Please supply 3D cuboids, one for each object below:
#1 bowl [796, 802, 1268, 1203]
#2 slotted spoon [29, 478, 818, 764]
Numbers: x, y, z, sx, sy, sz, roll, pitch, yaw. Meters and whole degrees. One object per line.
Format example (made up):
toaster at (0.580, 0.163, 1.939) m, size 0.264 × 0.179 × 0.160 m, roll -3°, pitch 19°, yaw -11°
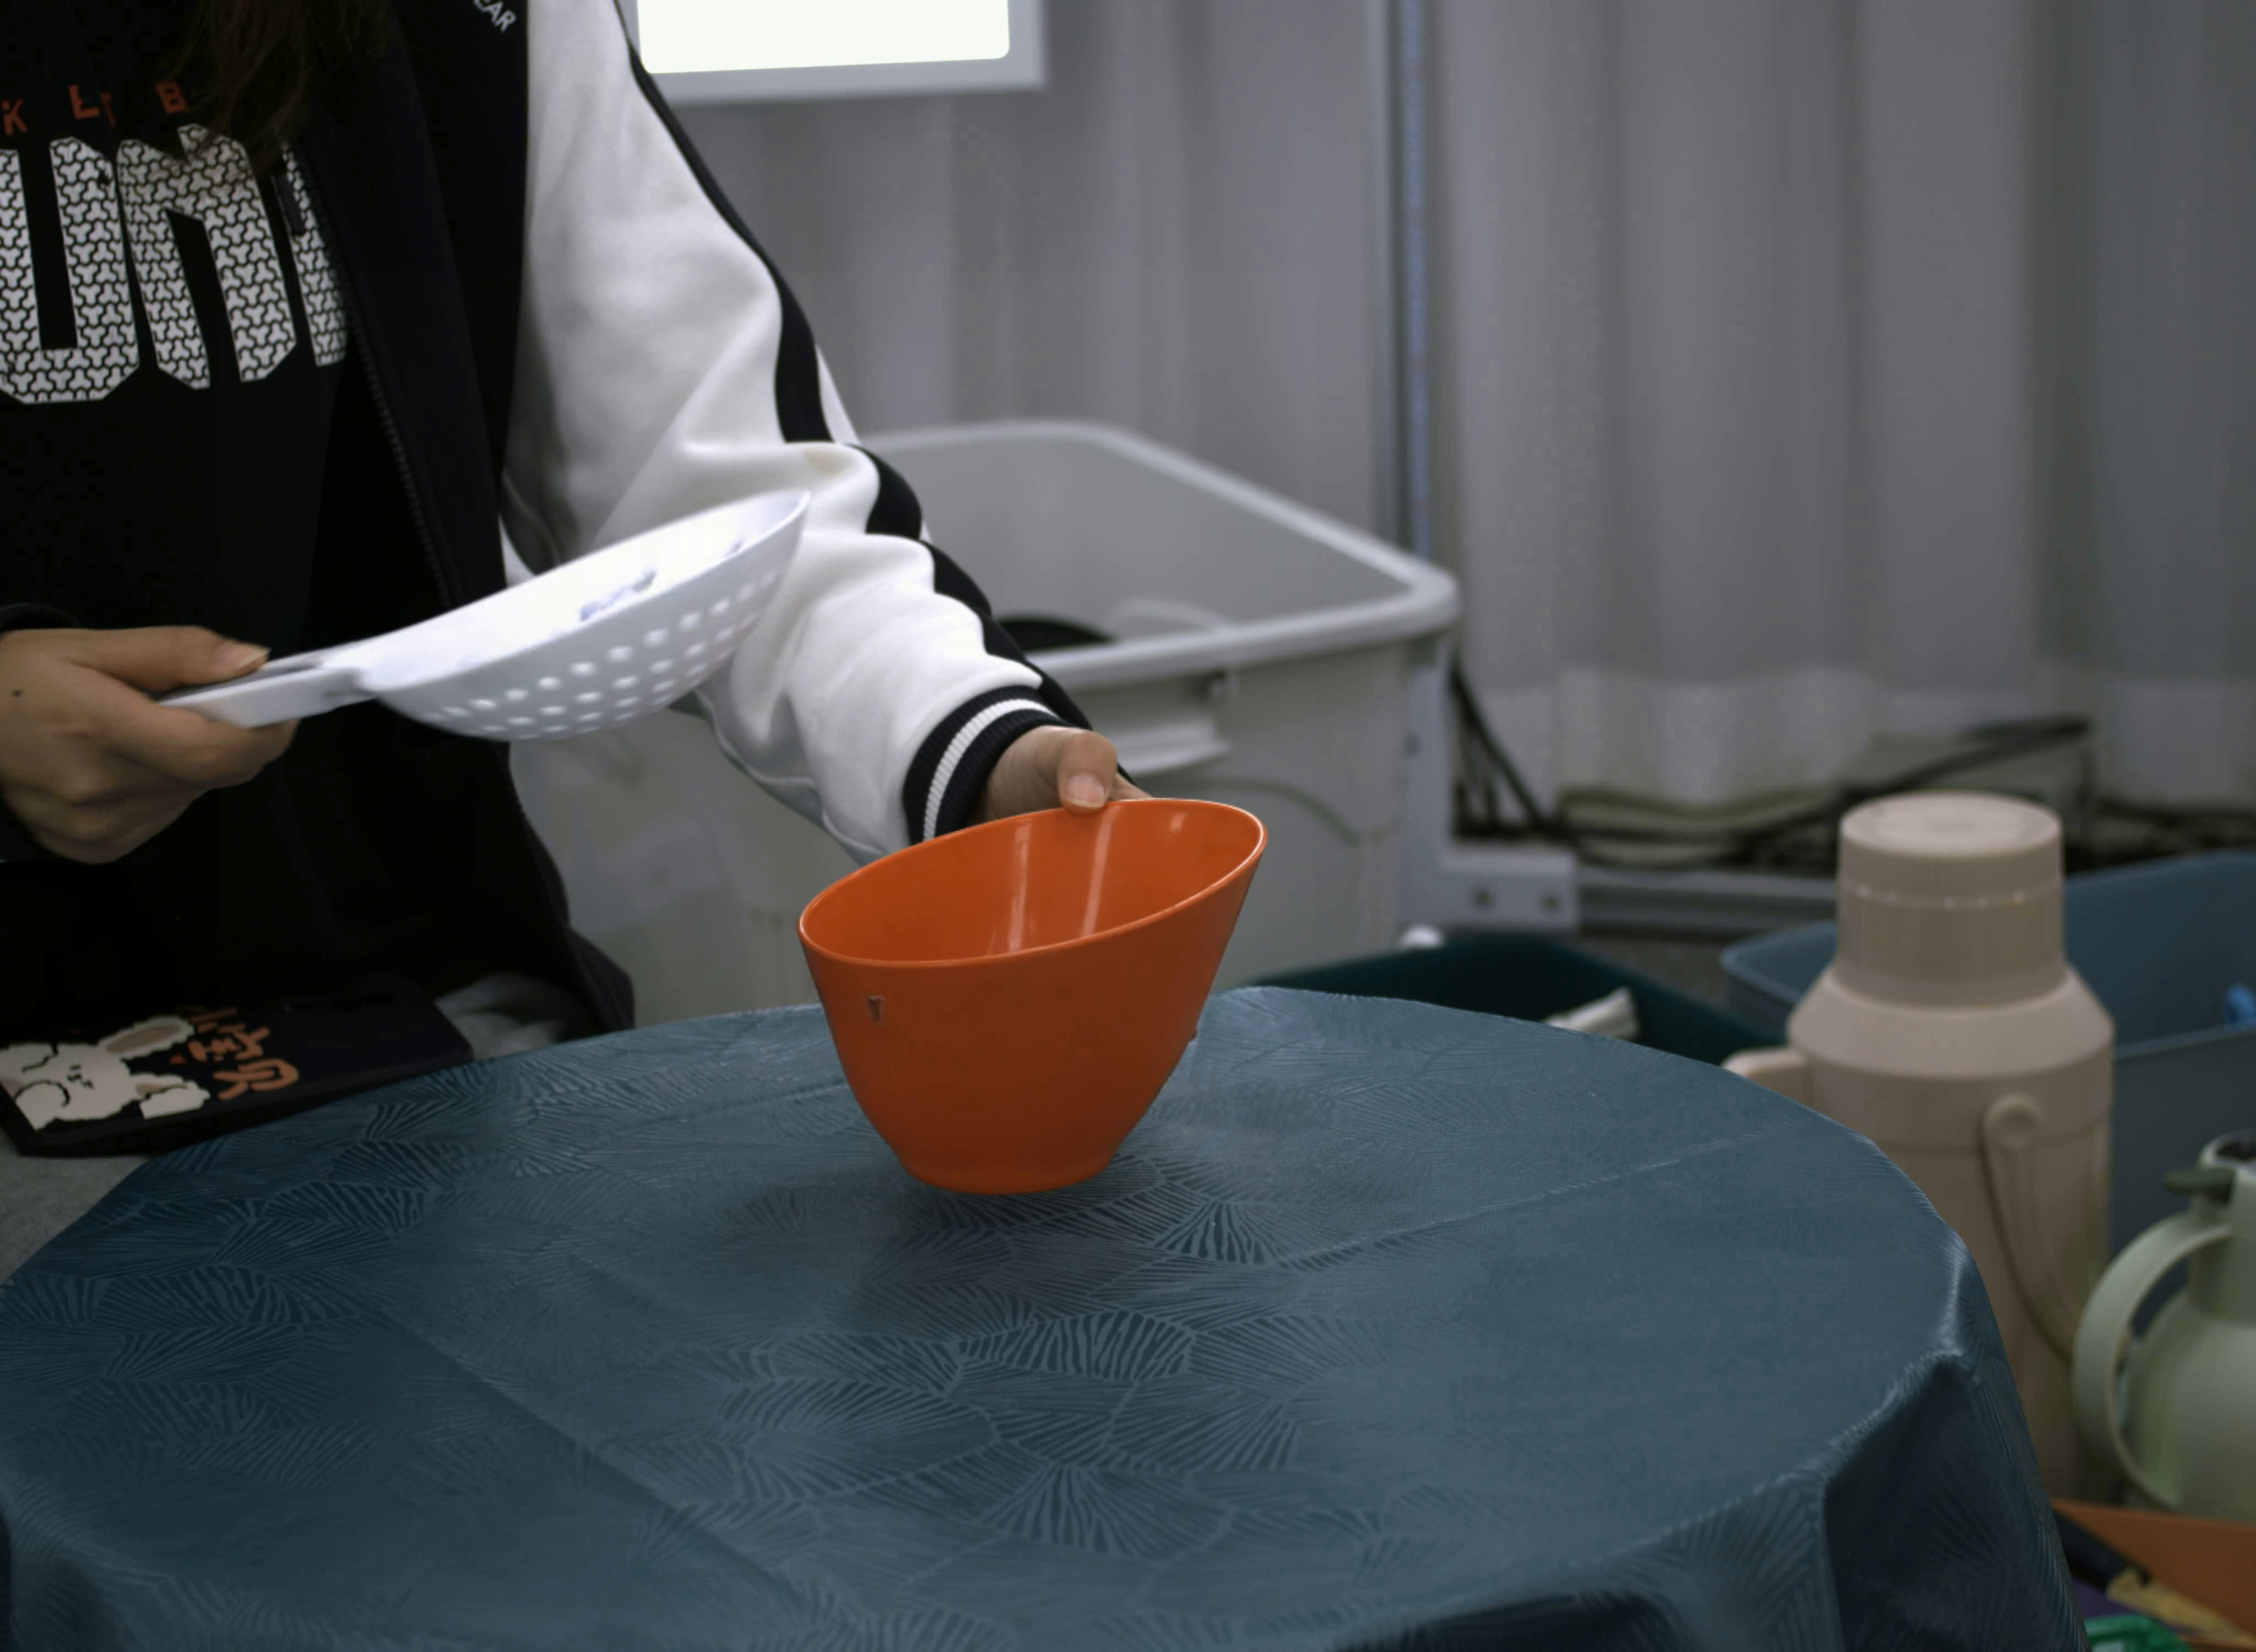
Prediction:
bowl at (-0.028, 0.057, 1.700) m, size 0.147 × 0.104 × 0.149 m, roll -2°, pitch 17°, yaw 0°
slotted spoon at (-0.223, -0.050, 1.639) m, size 0.350 × 0.045 × 0.136 m, roll -4°, pitch 23°, yaw 43°
